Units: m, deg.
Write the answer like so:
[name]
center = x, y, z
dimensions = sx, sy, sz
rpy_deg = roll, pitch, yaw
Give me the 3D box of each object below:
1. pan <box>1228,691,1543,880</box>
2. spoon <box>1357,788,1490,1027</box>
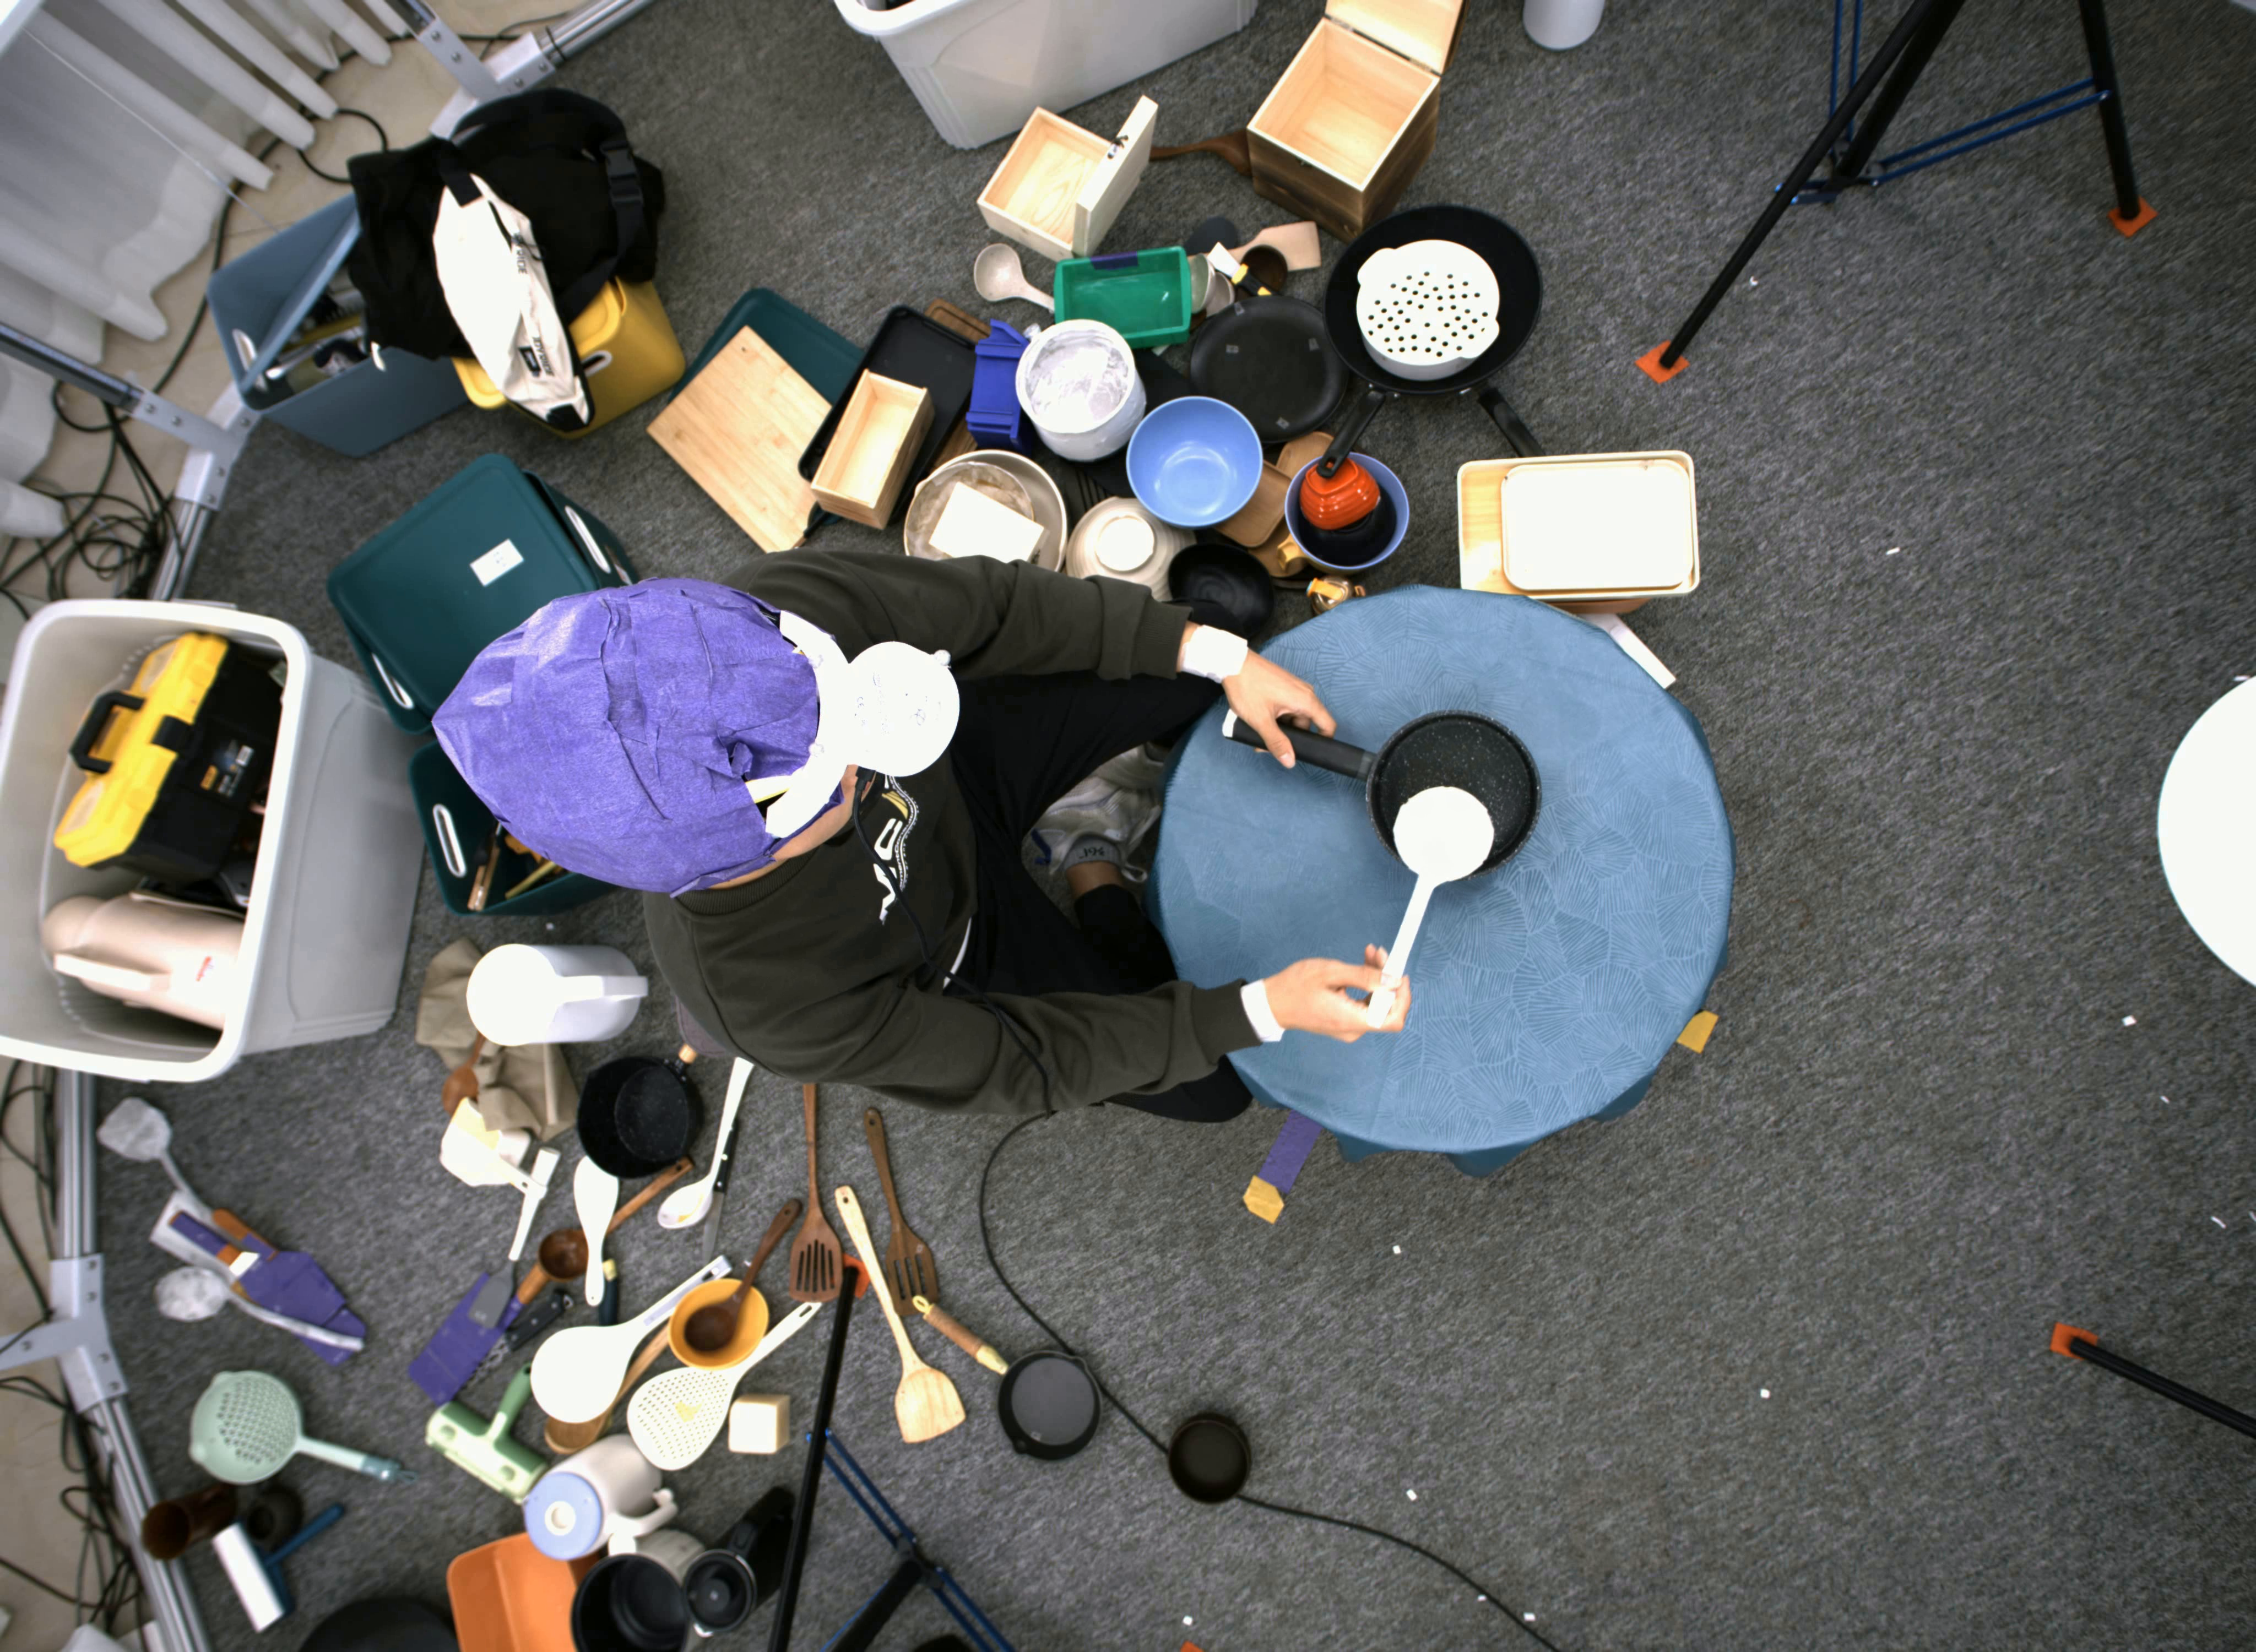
[pan]
center = 0.261, -0.064, 1.416
dimensions = 0.328, 0.086, 0.173
rpy_deg = 22, 100, 11
[spoon]
center = 0.258, 0.067, 1.268
dimensions = 0.100, 0.061, 0.270
rpy_deg = 20, 47, 15
